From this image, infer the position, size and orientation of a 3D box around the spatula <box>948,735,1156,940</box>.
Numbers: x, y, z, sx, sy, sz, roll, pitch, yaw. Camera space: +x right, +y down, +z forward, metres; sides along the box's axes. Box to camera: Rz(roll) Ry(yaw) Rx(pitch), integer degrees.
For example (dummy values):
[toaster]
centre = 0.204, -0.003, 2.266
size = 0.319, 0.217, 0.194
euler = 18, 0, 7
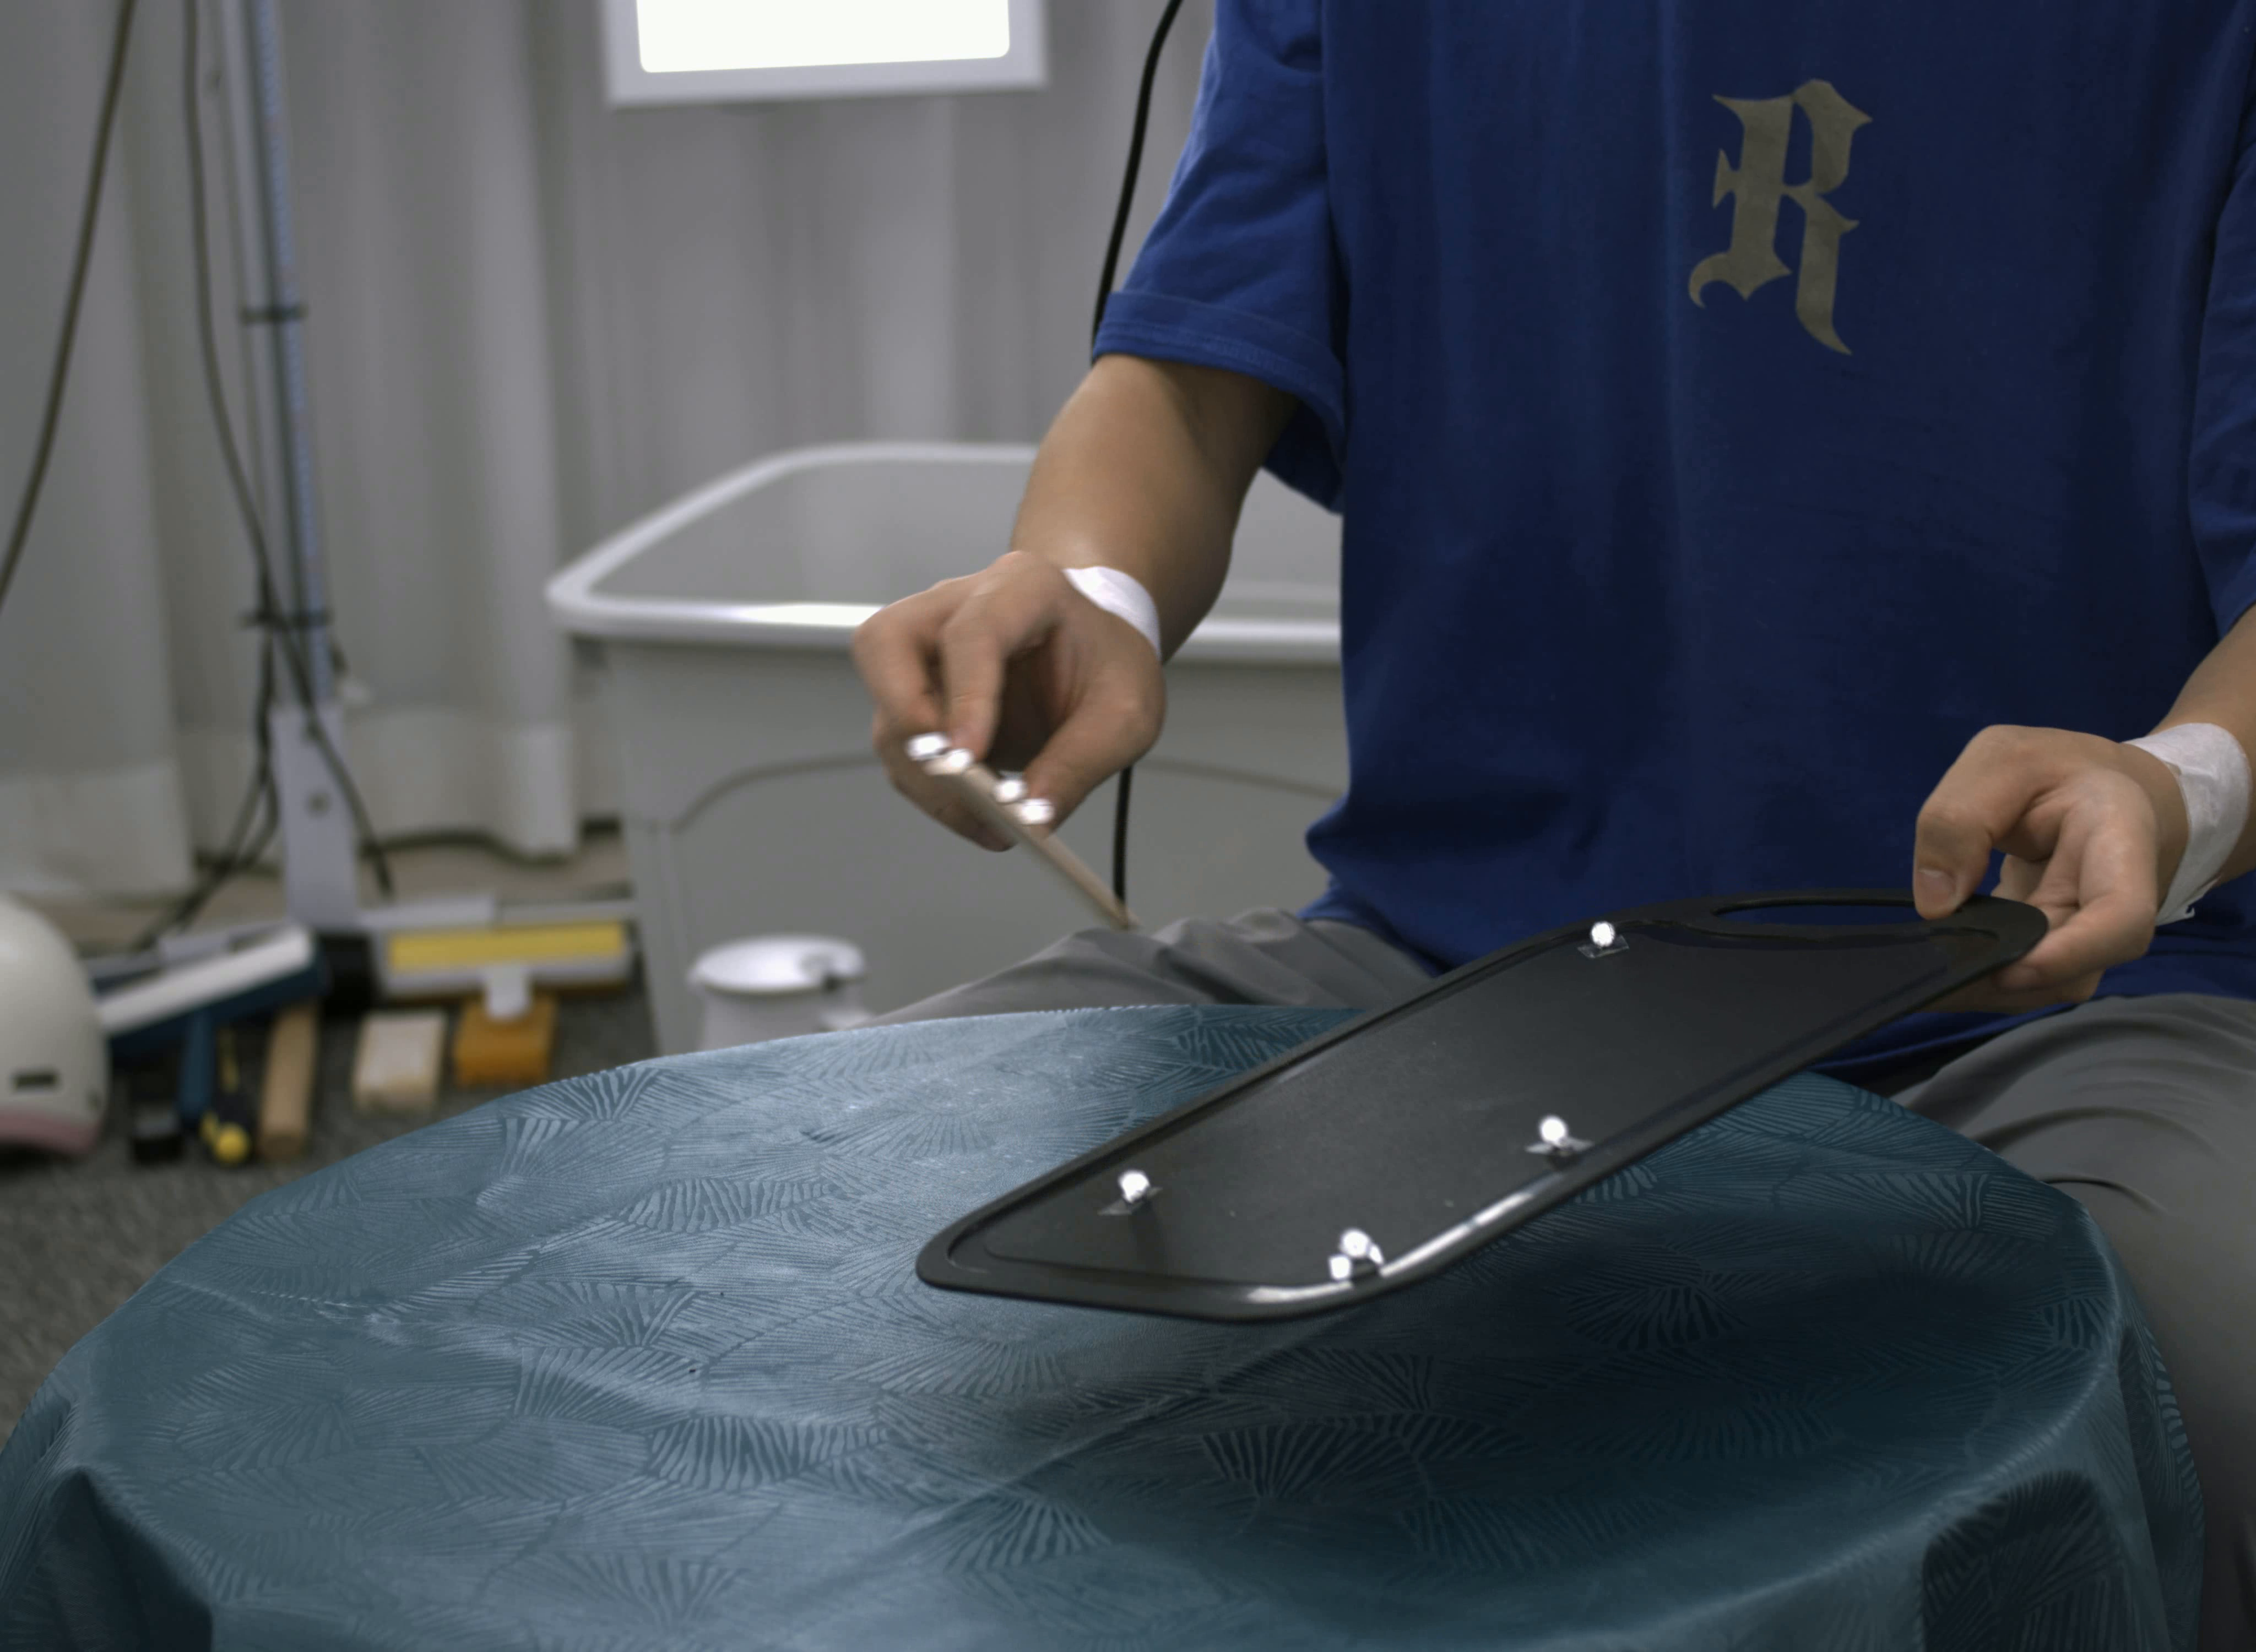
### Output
[spatula]
centre = -0.035, -0.007, 1.702
size = 0.010, 0.072, 0.294
euler = -46, 9, 0

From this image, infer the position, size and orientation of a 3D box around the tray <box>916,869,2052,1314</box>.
[tray]
centre = 0.106, 0.068, 1.541
size = 0.325, 0.010, 0.211
euler = -24, 14, -34
